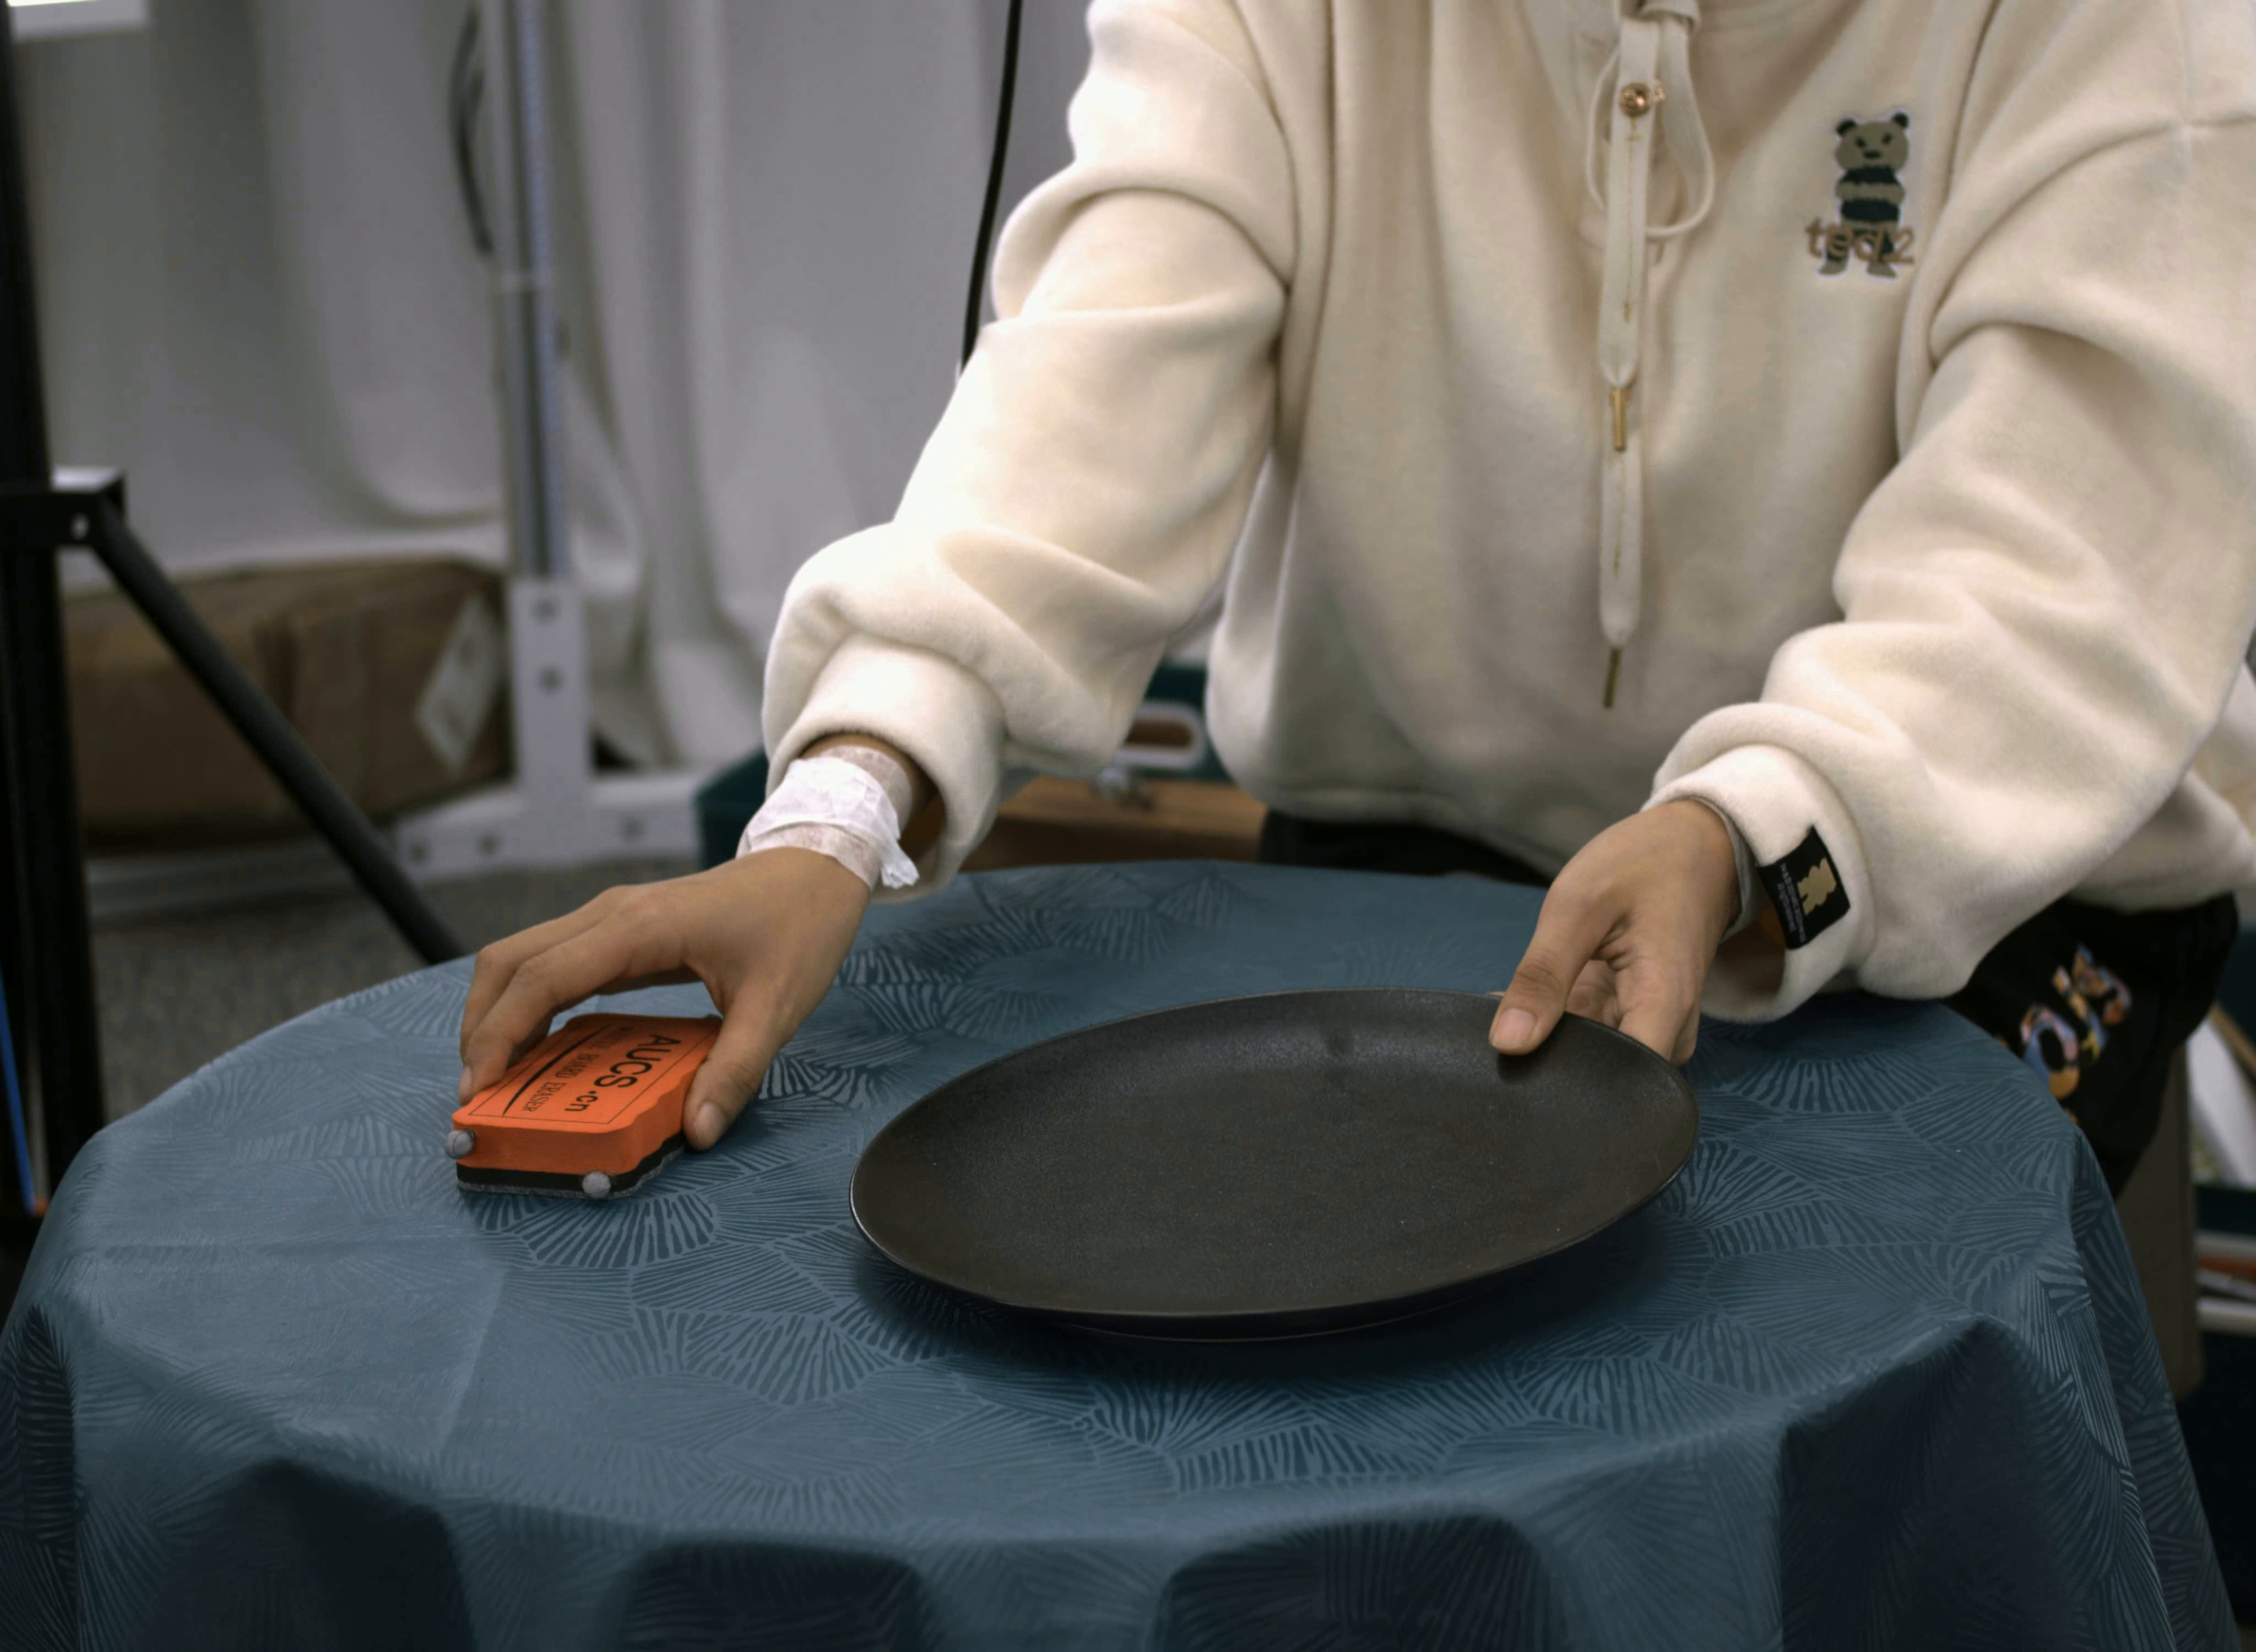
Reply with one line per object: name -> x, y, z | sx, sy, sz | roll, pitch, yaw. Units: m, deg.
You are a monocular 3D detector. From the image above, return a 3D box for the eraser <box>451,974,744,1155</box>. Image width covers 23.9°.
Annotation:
eraser -> -0.160, 0.072, 1.623 | 0.059, 0.023, 0.107 | -2, 16, 20

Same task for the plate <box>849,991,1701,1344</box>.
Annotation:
plate -> 0.042, 0.100, 1.510 | 0.243, 0.023, 0.246 | -7, 18, 1
